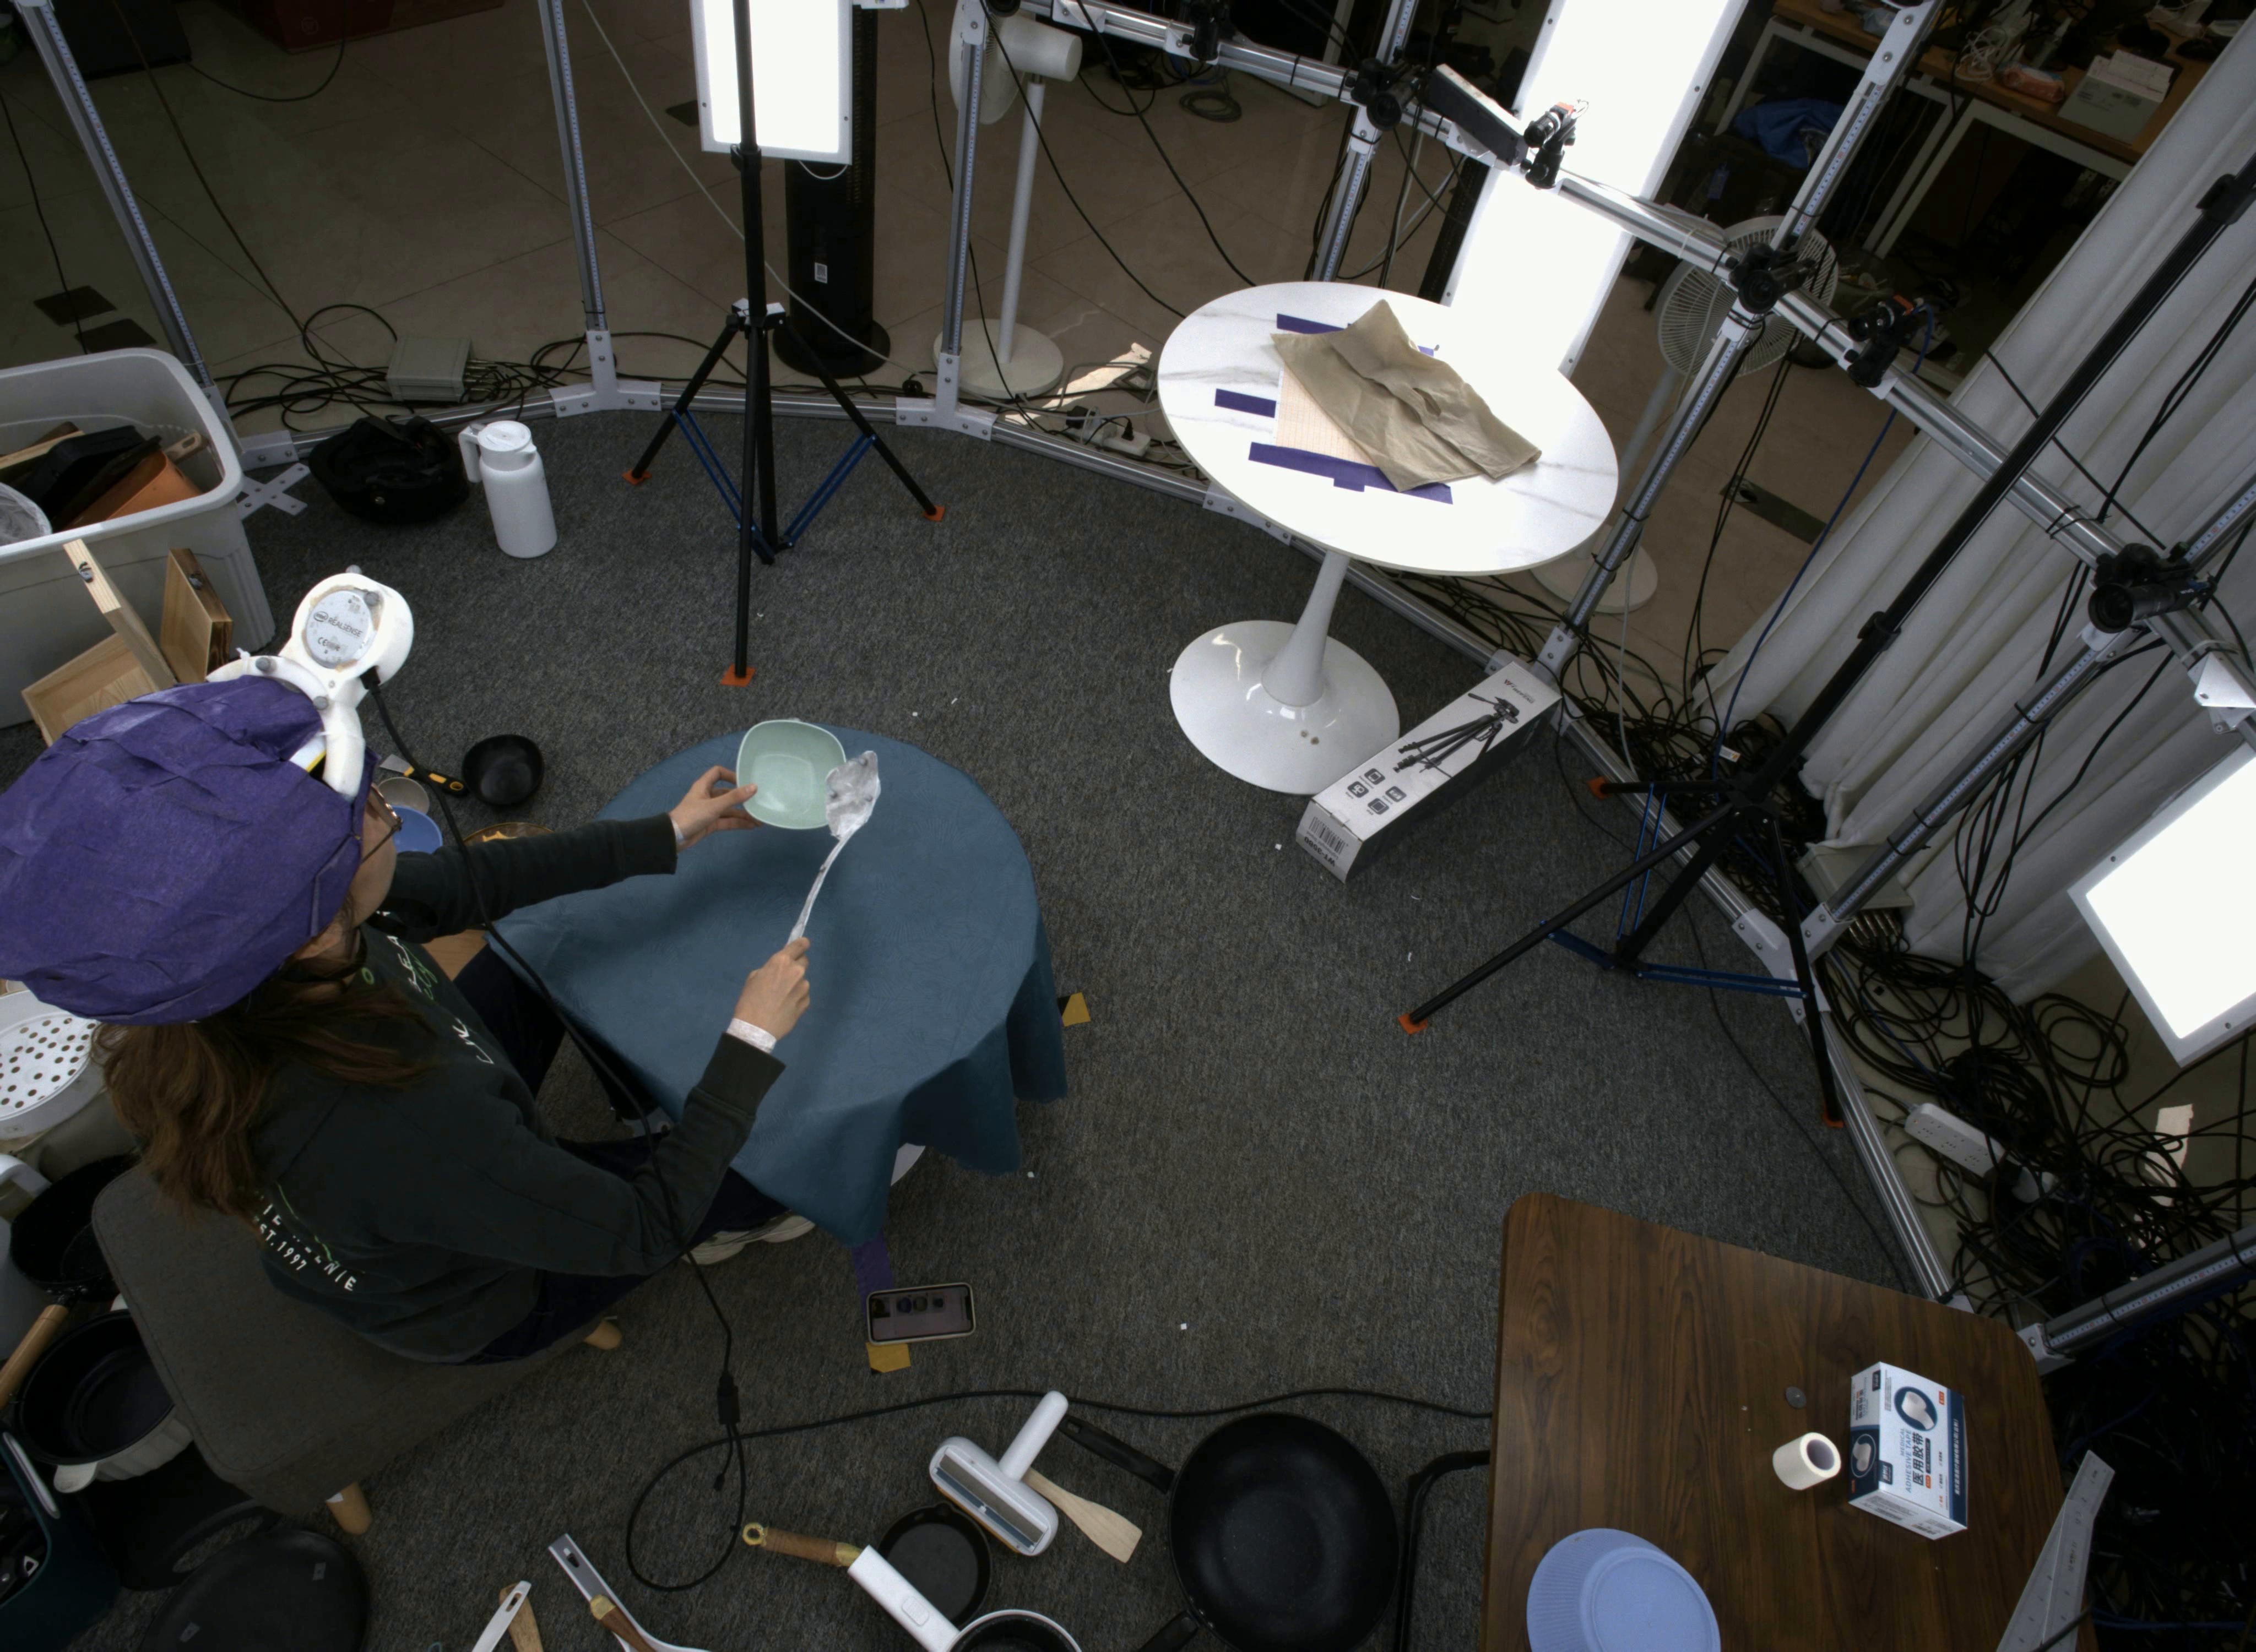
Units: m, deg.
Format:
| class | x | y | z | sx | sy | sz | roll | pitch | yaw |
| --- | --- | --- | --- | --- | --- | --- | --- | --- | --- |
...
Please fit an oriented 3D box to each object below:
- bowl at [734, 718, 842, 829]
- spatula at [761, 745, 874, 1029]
| class | x | y | z | sx | sy | sz | roll | pitch | yaw |
| --- | --- | --- | --- | --- | --- | --- | --- | --- | --- |
| bowl | -0.432 | -0.060 | 1.627 | 0.154 | 0.058 | 0.151 | 10 | 72 | -30 |
| spatula | -0.357 | 0.059 | 1.459 | 0.046 | 0.096 | 0.360 | 44 | 42 | -33 |
